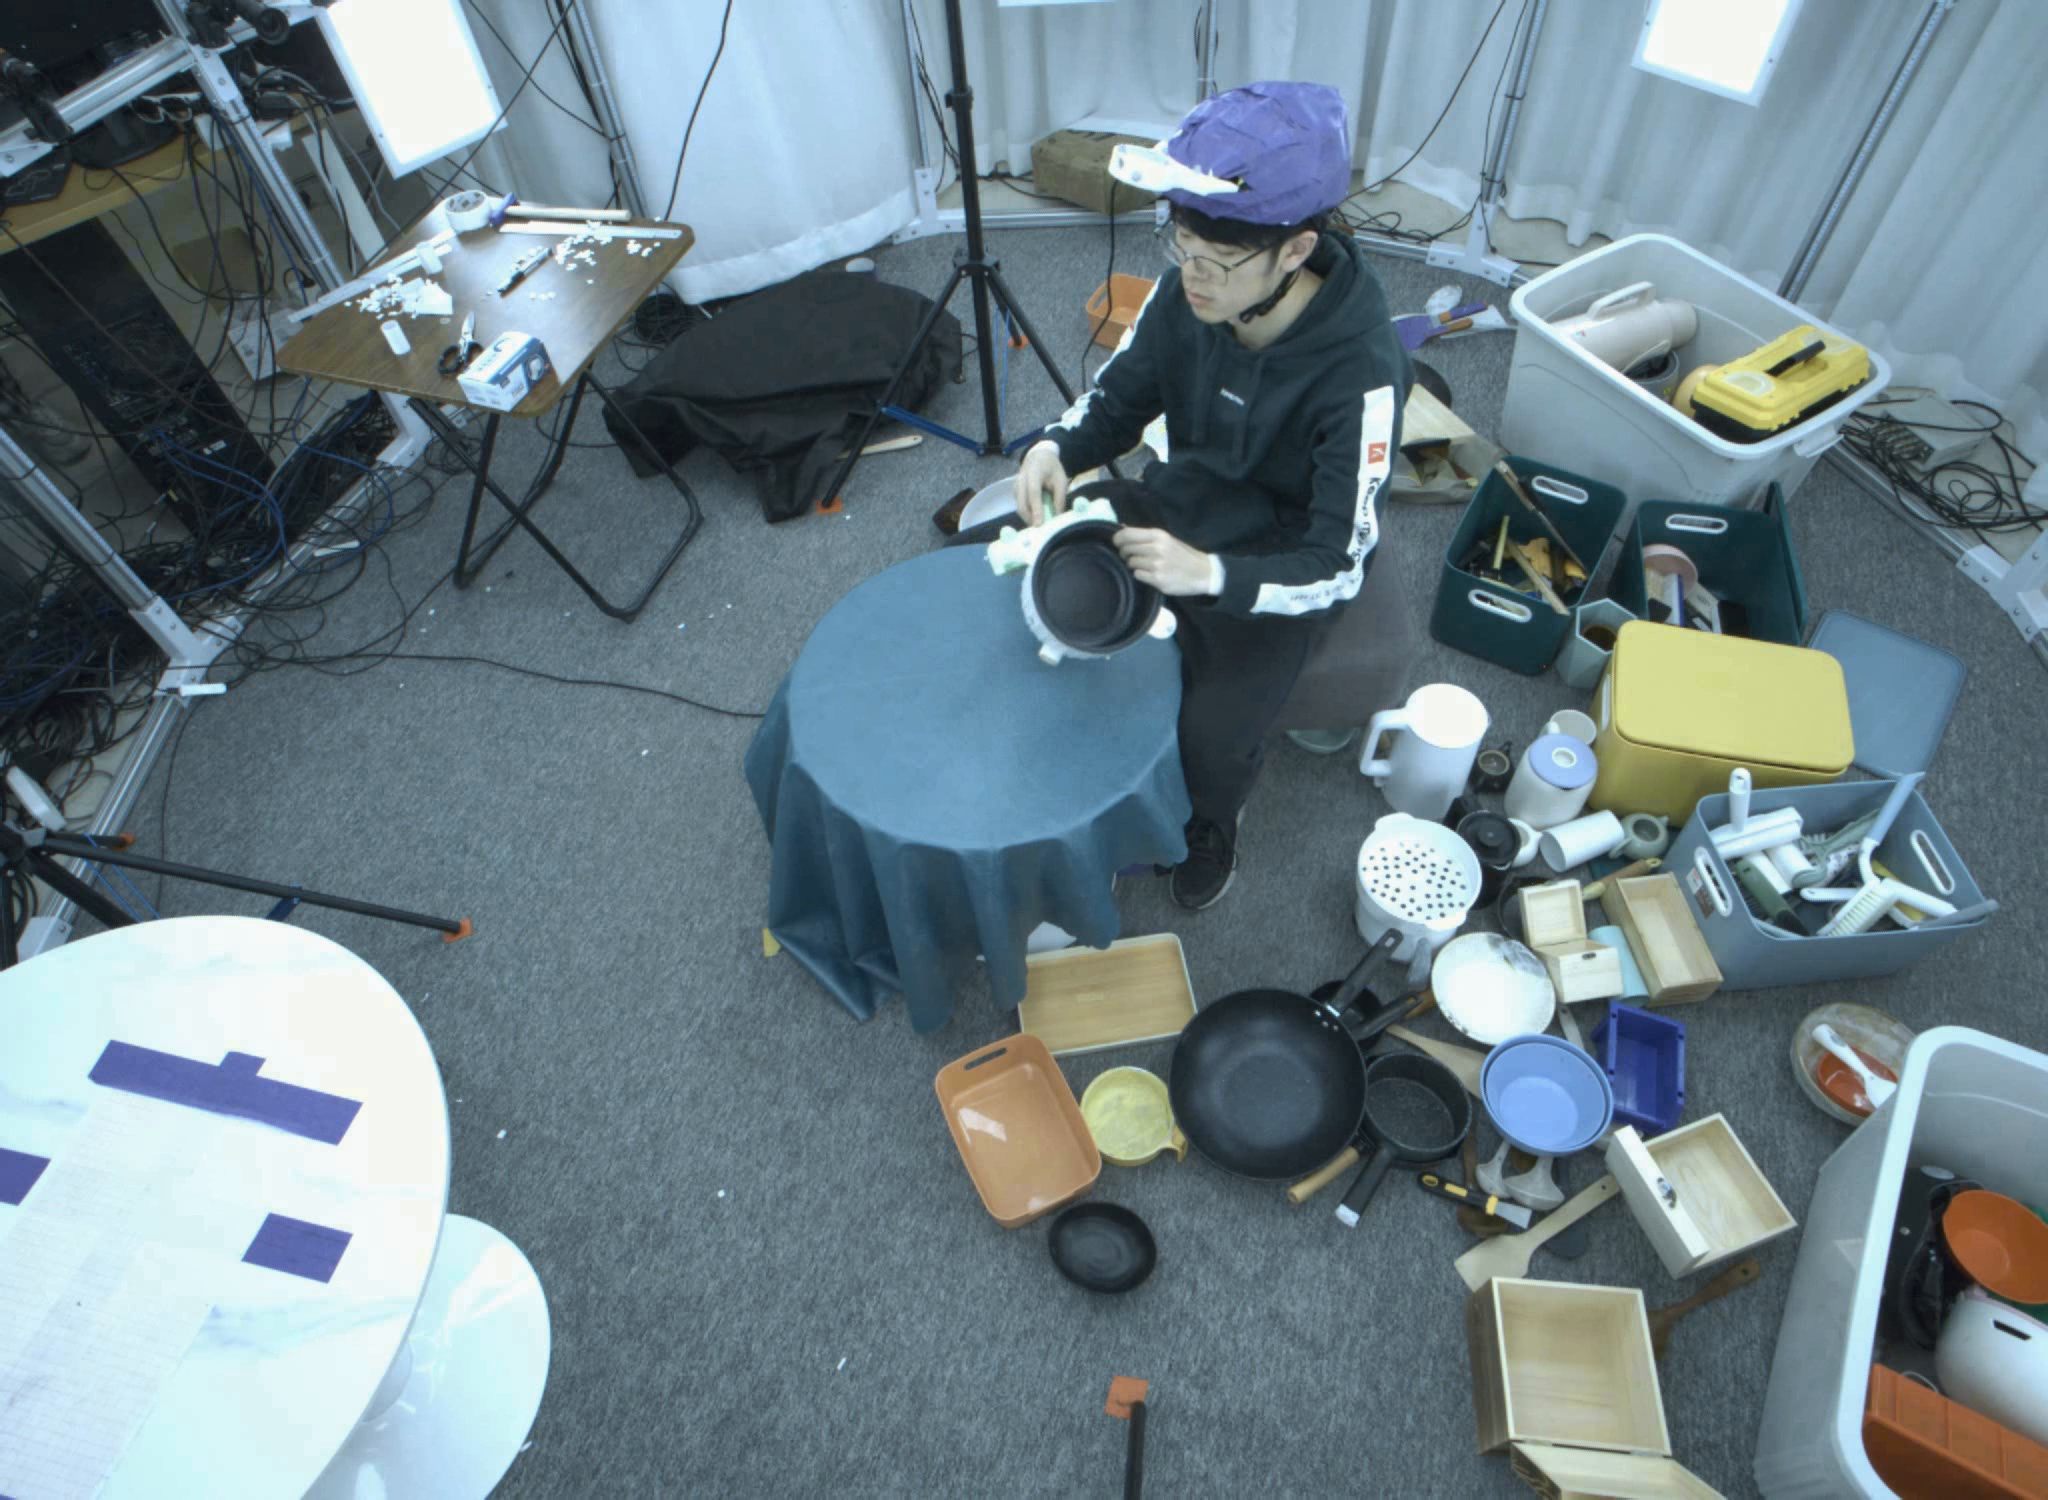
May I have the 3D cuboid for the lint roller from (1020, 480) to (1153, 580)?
[{"bbox_3d":[0.078,-0.356,1.822,0.197,0.084,0.181,-20,57,10],"label":"lint roller"}]

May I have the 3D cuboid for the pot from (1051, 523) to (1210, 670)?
[{"bbox_3d":[0.130,-0.203,1.683,0.242,0.141,0.190,29,82,-8],"label":"pot"}]
